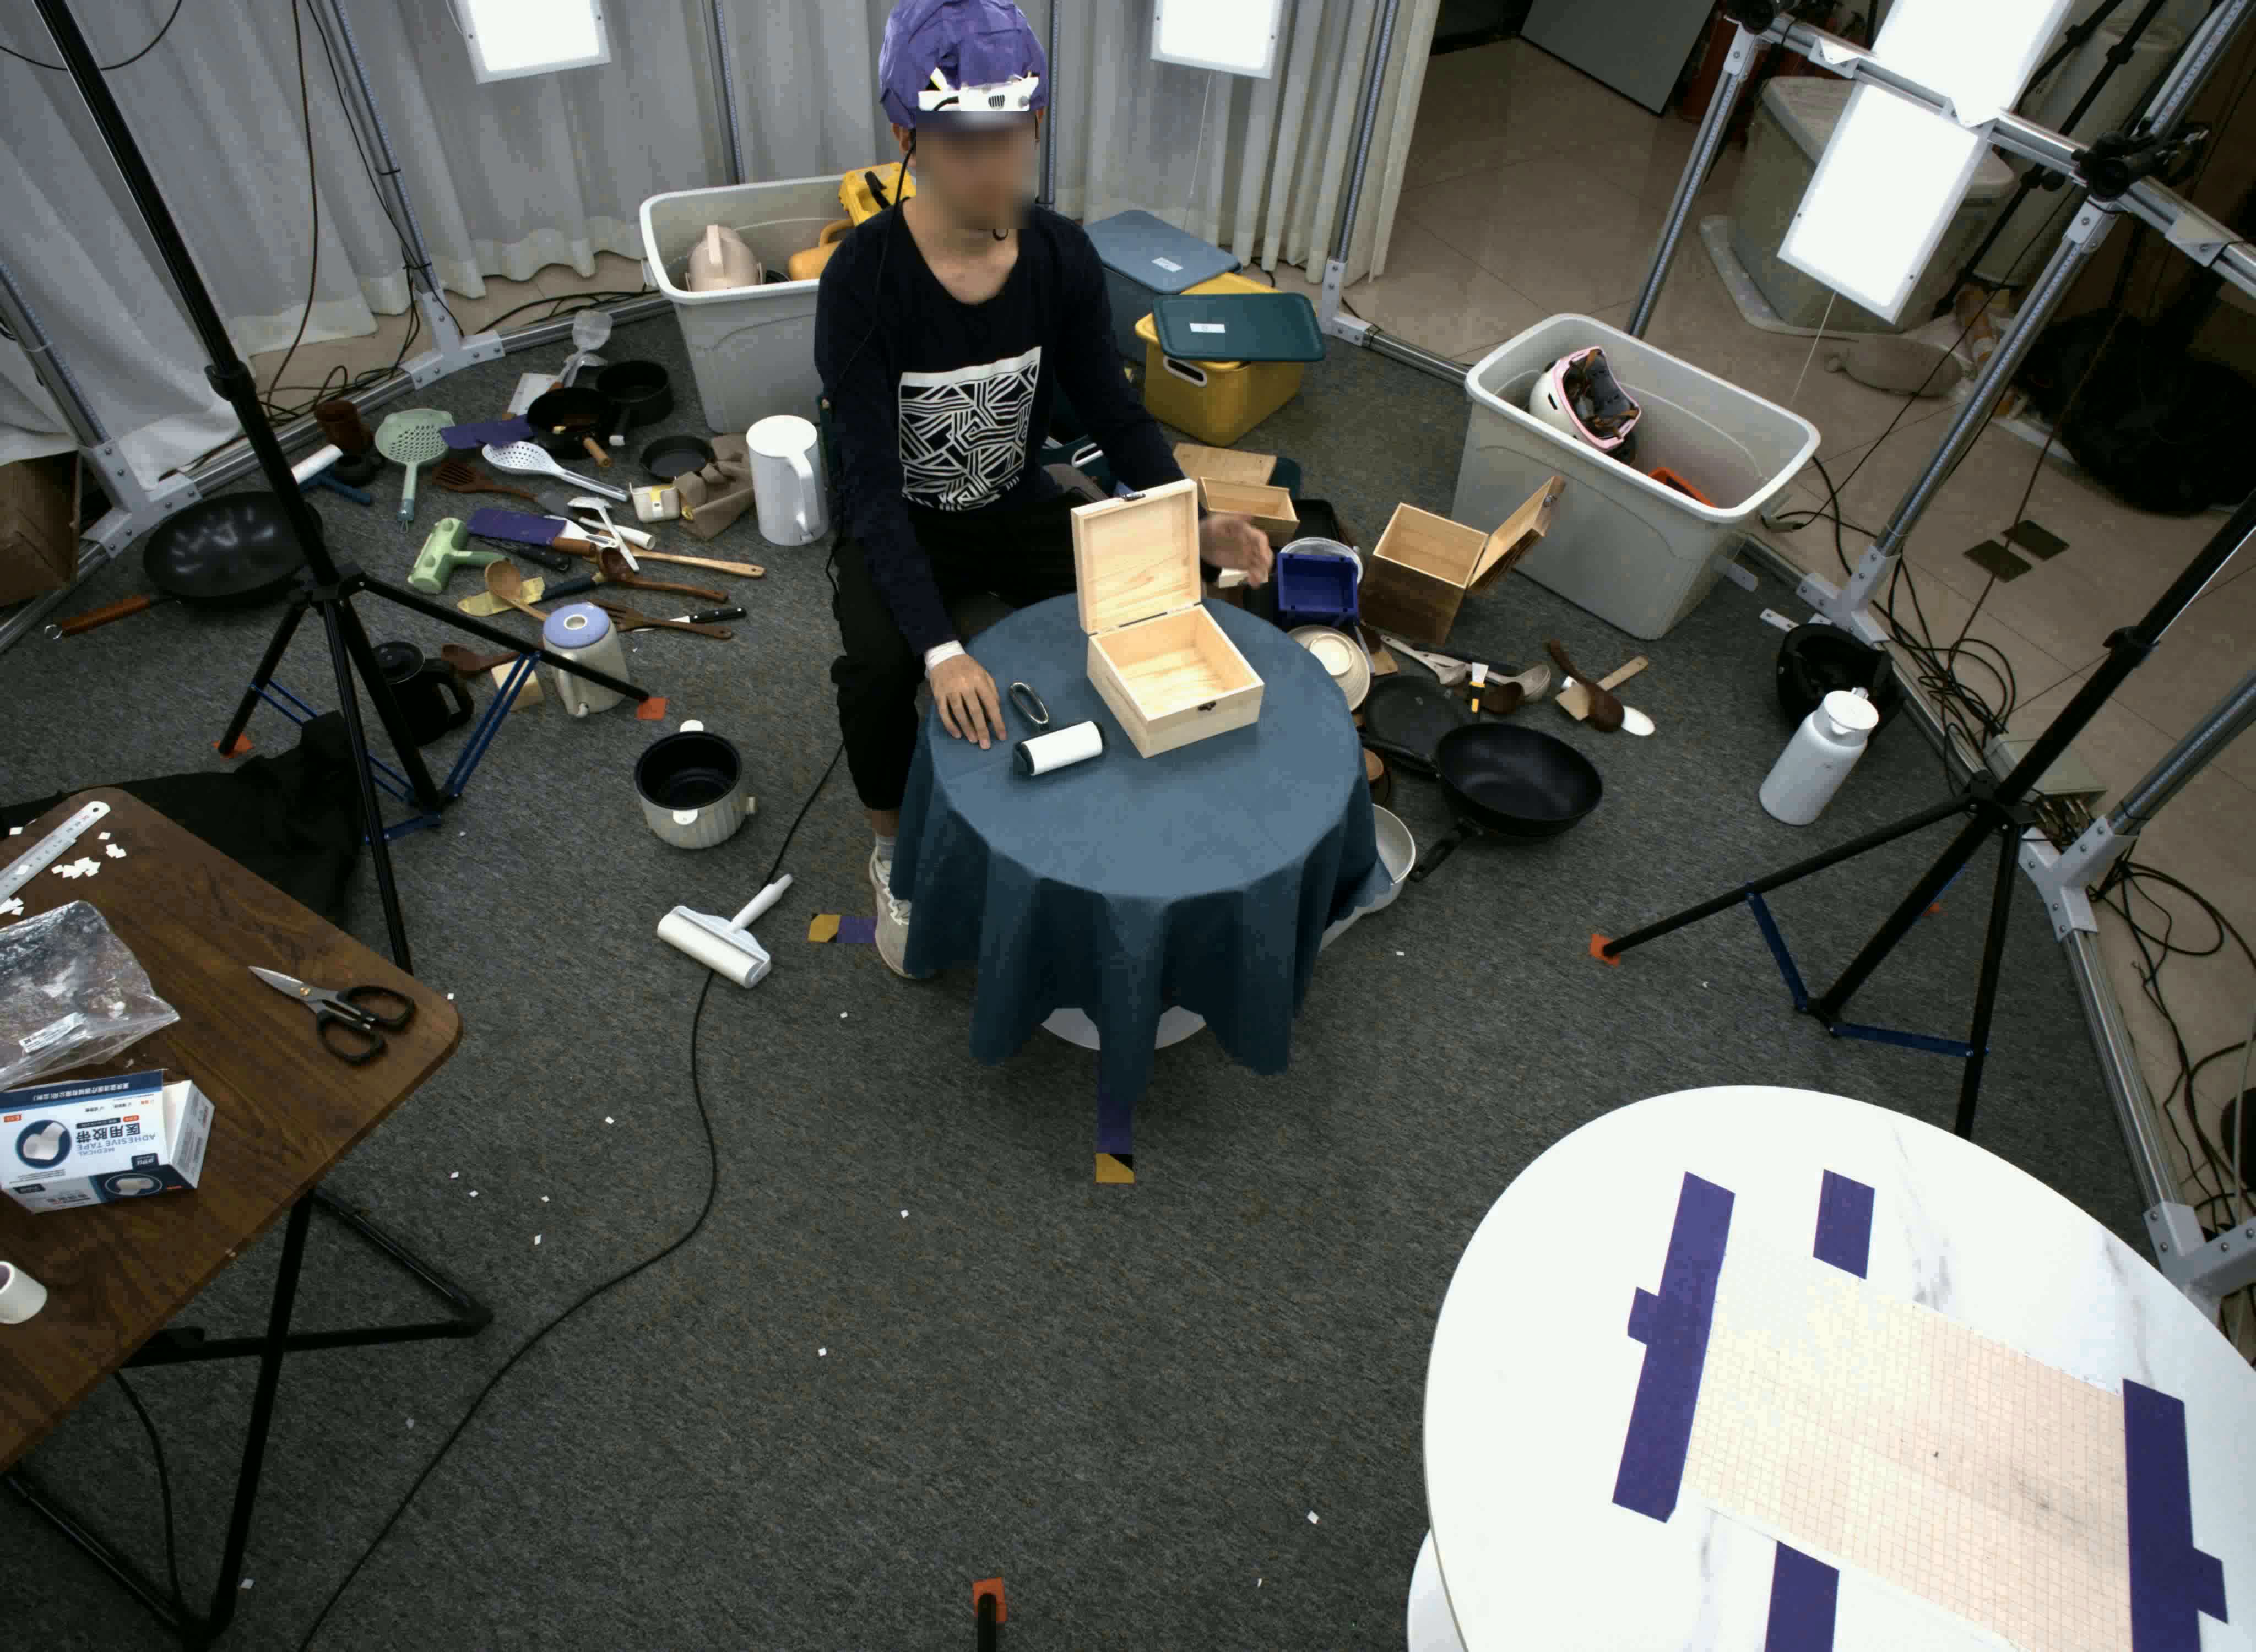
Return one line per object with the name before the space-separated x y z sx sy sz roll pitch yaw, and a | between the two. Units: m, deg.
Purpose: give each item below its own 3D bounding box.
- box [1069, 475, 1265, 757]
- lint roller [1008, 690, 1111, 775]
box | 0.055 -0.286 1.758 0.182 0.247 0.271 -20 54 -19
lint roller | -0.120 -0.149 1.763 0.134 0.047 0.184 -19 49 -19
